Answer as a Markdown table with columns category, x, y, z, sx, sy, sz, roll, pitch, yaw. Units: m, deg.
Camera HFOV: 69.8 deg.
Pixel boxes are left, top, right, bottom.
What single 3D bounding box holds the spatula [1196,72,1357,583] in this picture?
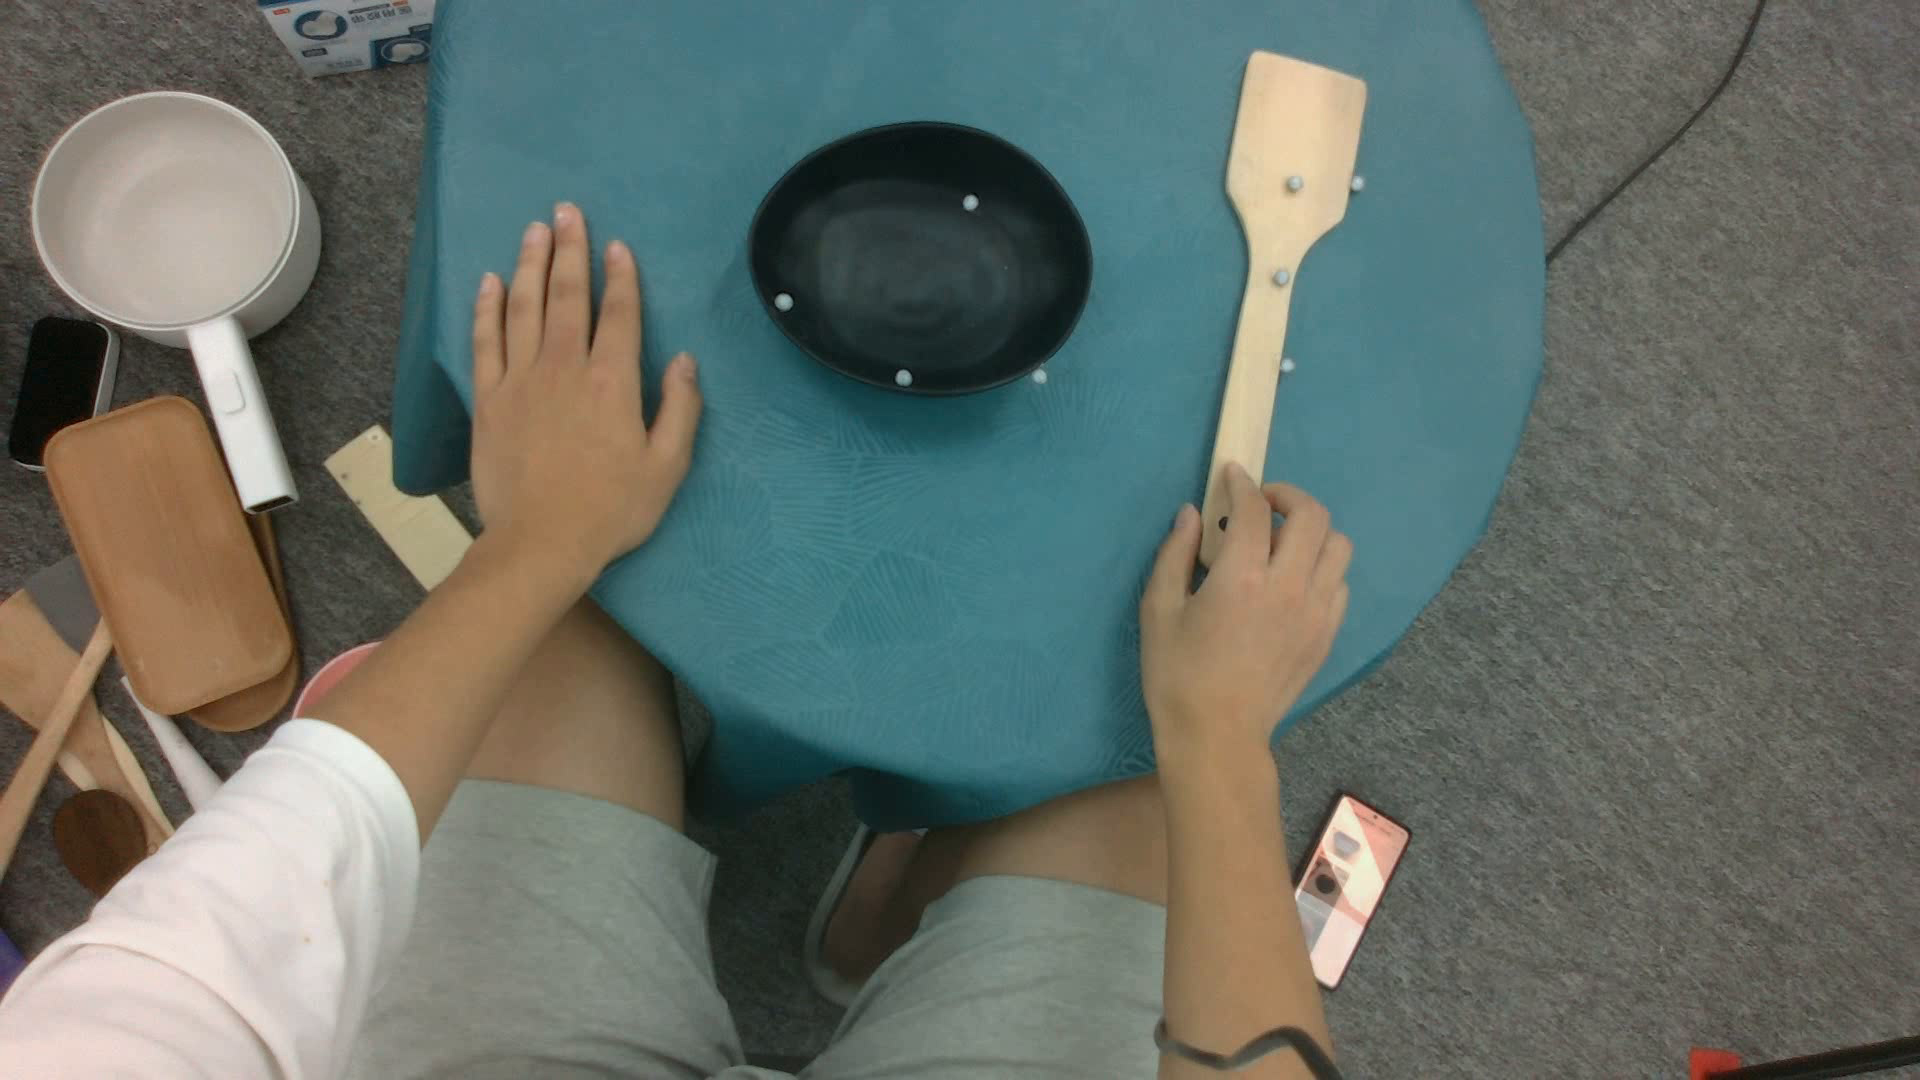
| category | x | y | z | sx | sy | sz | roll | pitch | yaw |
| --- | --- | --- | --- | --- | --- | --- | --- | --- | --- |
| spatula | 0.166 | -0.118 | 0.755 | 0.072 | 0.010 | 0.293 | 13 | 78 | -6 |

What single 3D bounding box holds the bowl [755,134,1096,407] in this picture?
| category | x | y | z | sx | sy | sz | roll | pitch | yaw |
| --- | --- | --- | --- | --- | --- | --- | --- | --- | --- |
| bowl | -0.019 | -0.130 | 0.706 | 0.170 | 0.066 | 0.137 | 0 | 82 | -6 |
